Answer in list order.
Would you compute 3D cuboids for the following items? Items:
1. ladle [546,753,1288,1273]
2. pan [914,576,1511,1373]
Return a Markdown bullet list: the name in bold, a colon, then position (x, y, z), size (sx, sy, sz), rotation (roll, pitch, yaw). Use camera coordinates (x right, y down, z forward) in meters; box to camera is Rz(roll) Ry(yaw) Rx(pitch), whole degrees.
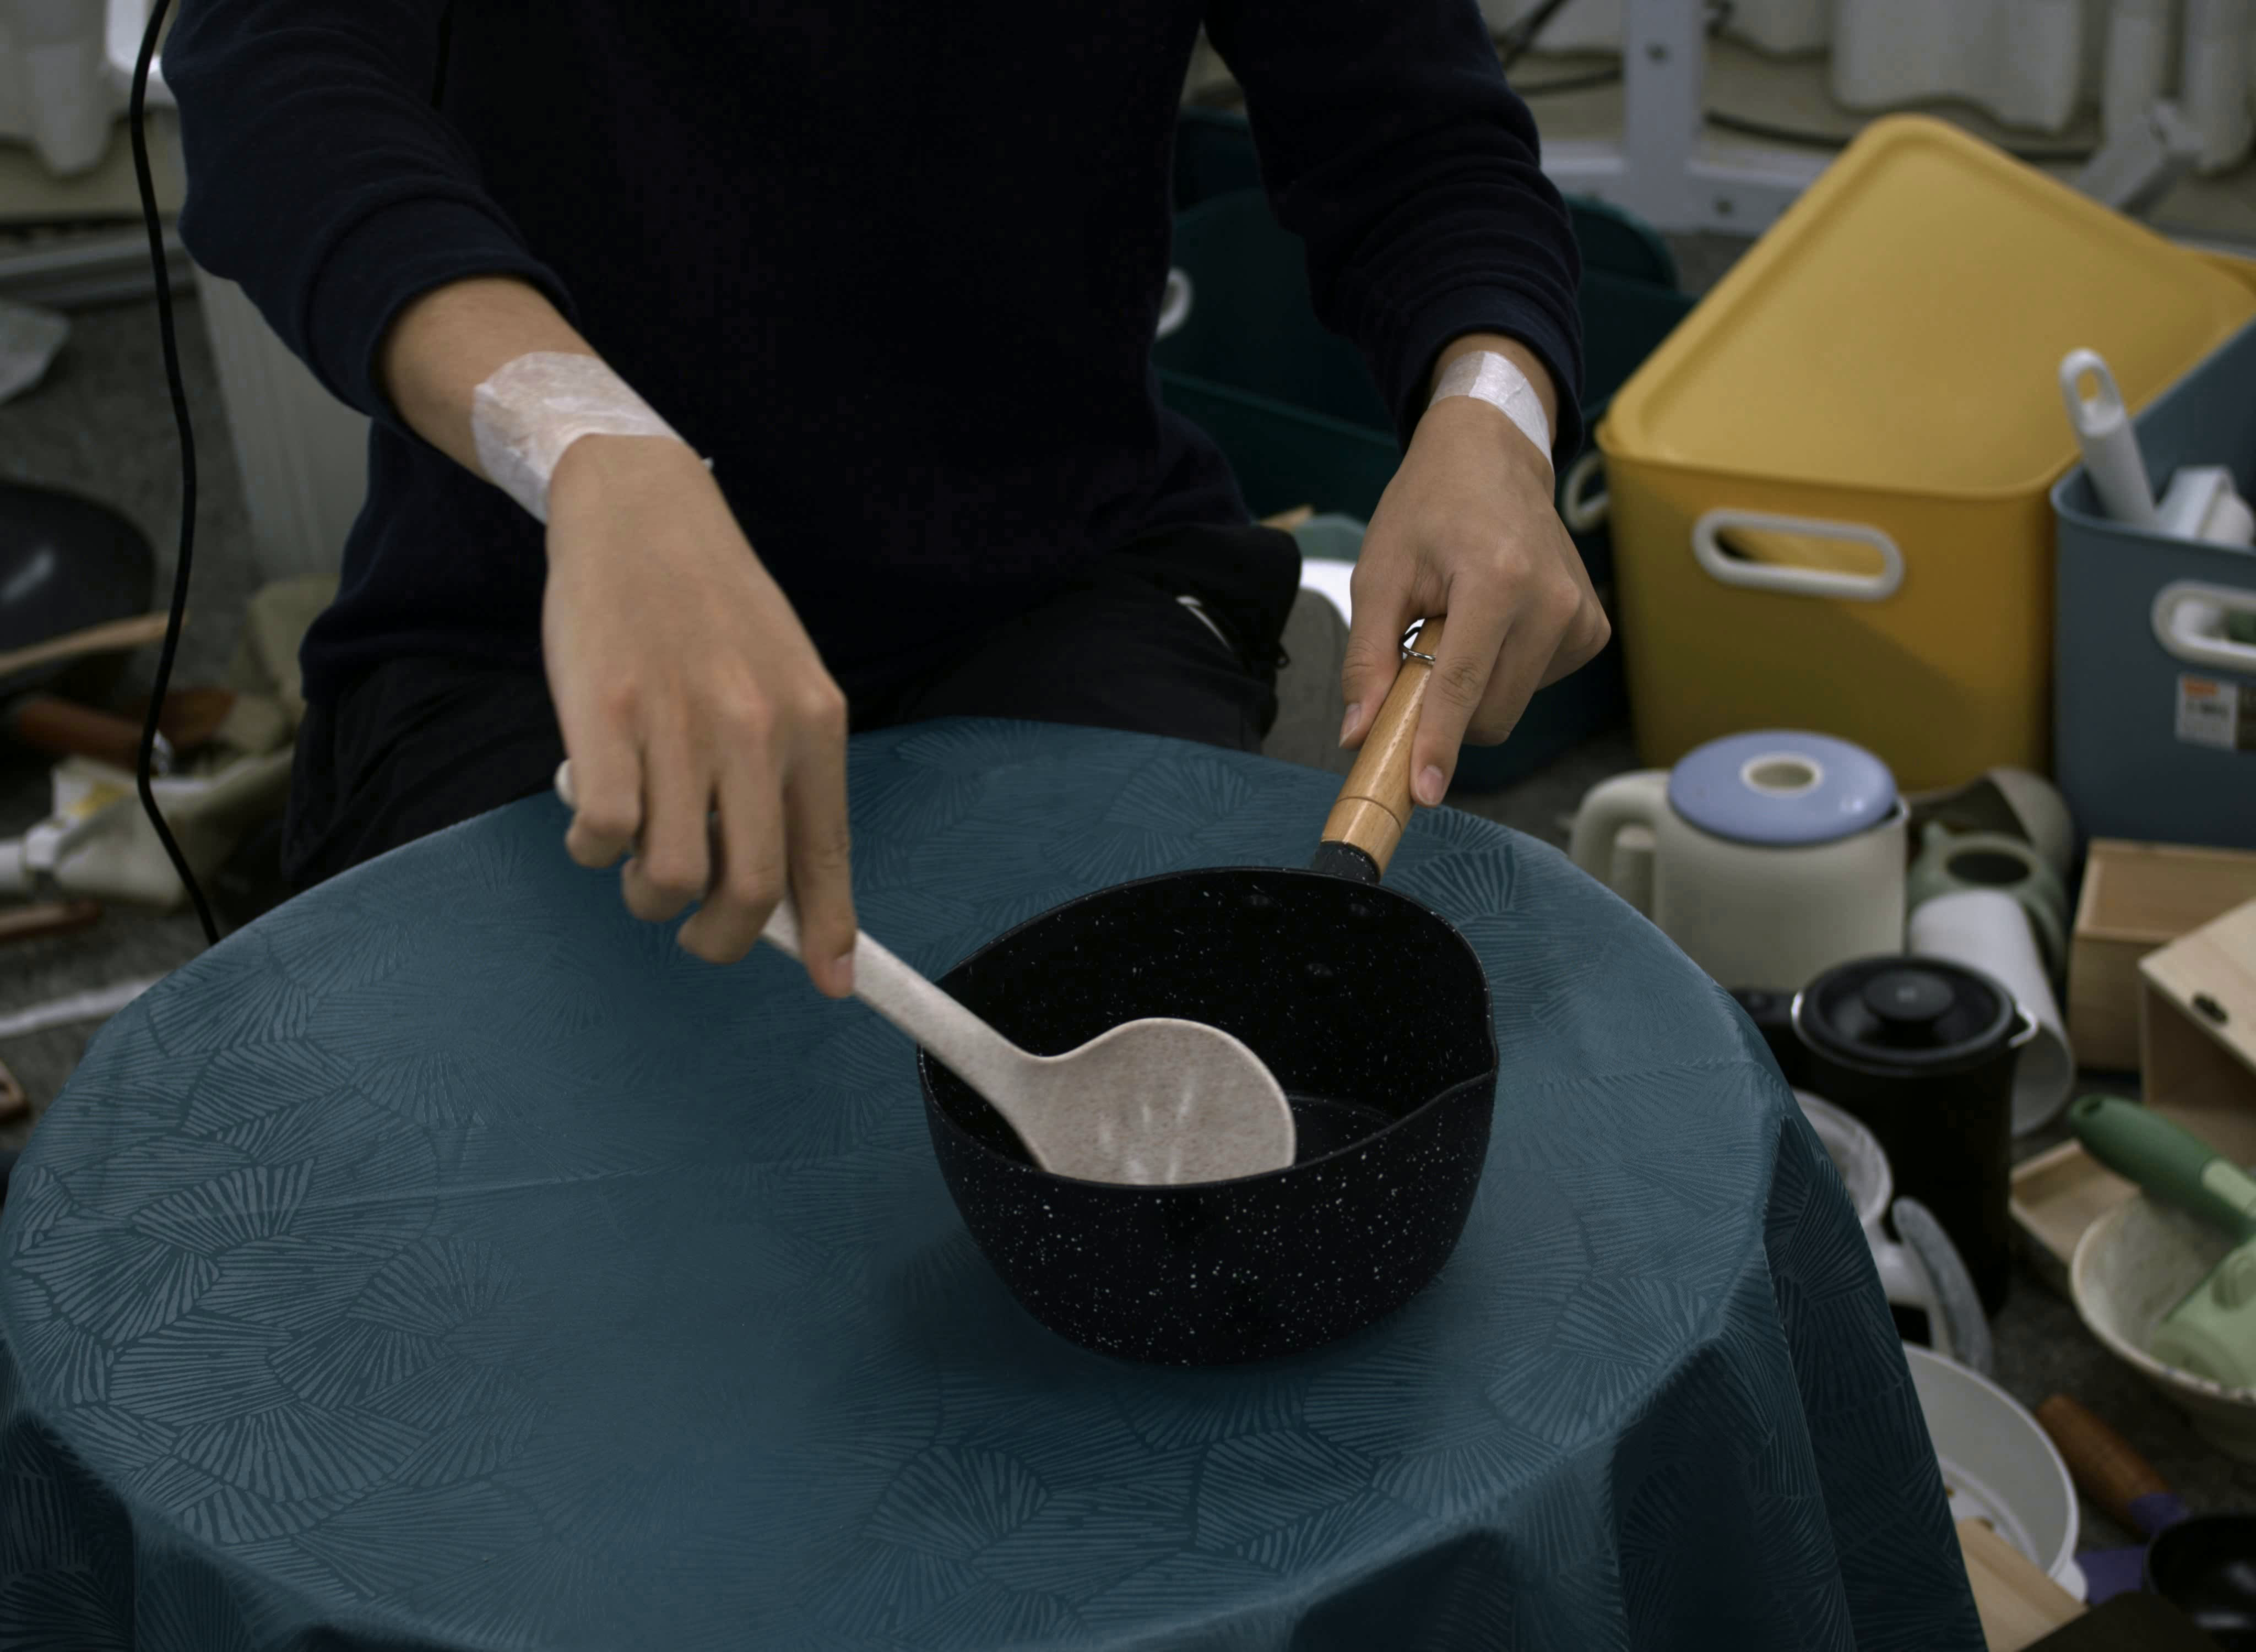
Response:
- **ladle**: position (-0.059, 0.046, 1.691), size (0.068, 0.273, 0.091), rotation (-12, 52, 40)
- **pan**: position (0.057, 0.046, 1.862), size (0.206, 0.107, 0.349), rotation (5, 34, 23)
